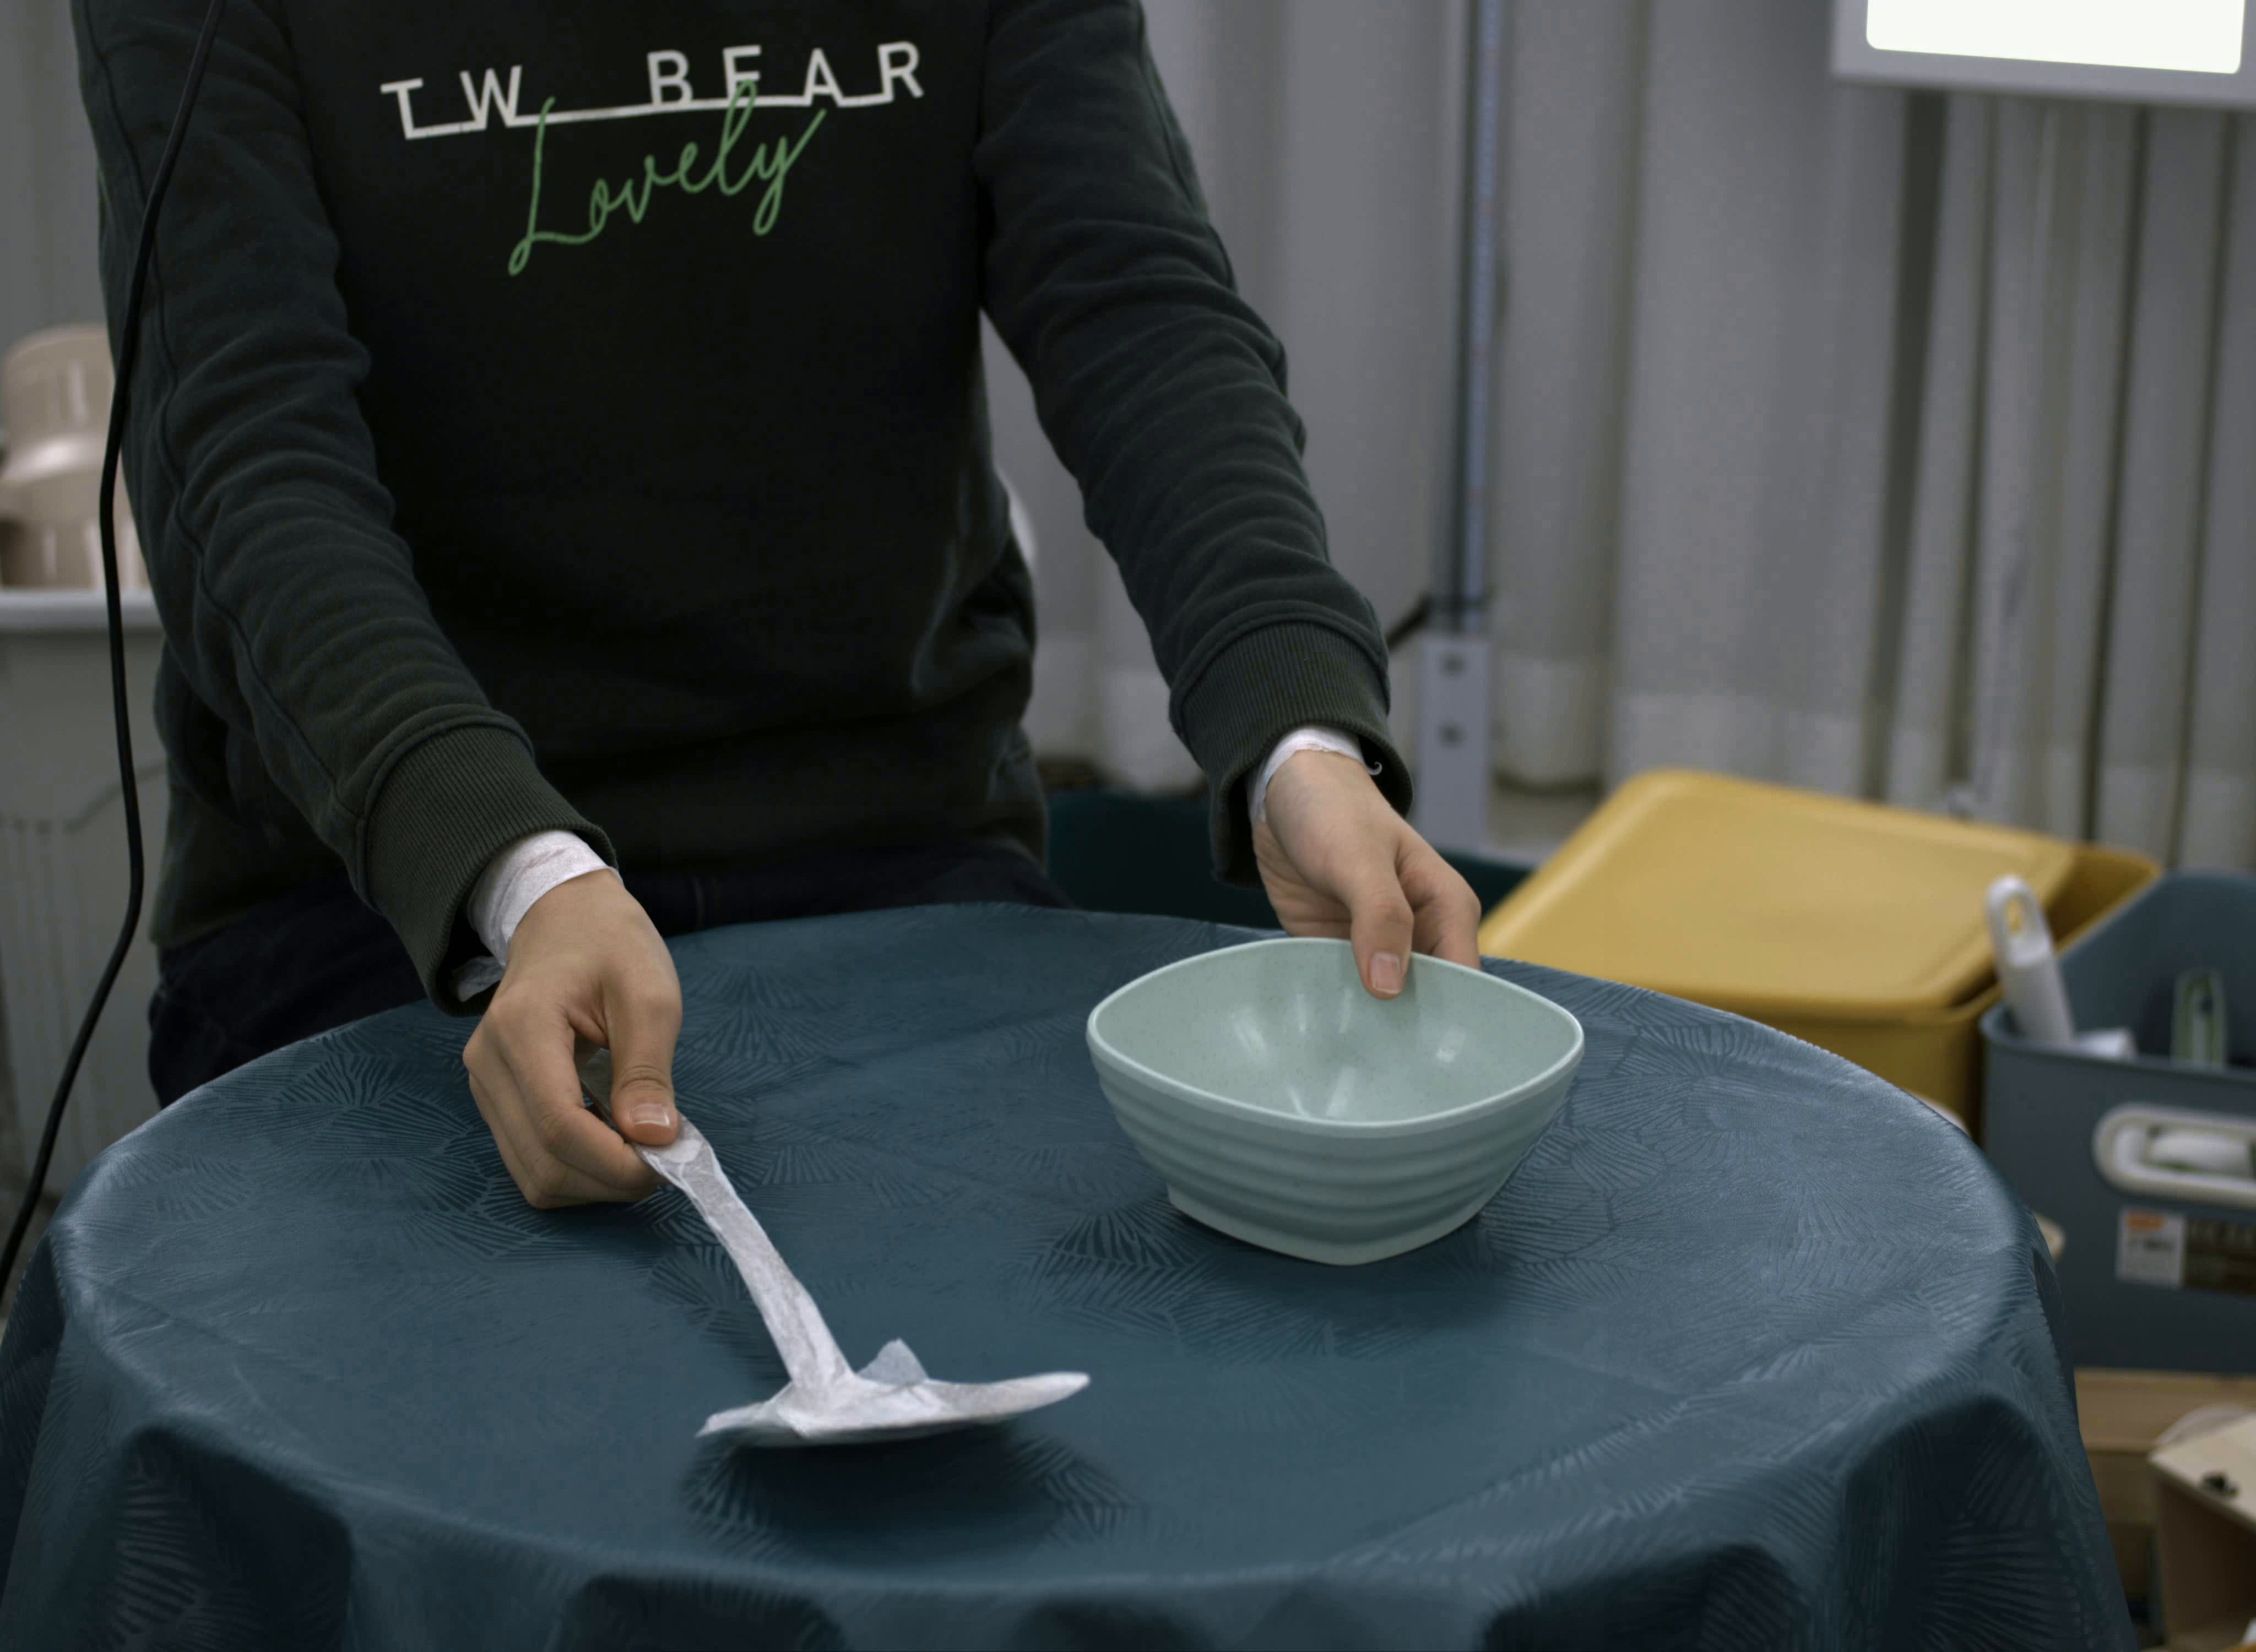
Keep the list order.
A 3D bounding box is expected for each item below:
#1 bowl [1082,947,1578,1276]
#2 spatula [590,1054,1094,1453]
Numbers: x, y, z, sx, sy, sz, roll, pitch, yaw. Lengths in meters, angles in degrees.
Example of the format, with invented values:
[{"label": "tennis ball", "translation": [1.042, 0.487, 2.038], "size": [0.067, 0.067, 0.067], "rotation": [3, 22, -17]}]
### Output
[{"label": "bowl", "translation": [0.060, 0.091, 1.601], "size": [0.151, 0.059, 0.150], "rotation": [4, 19, -1]}, {"label": "spatula", "translation": [-0.108, 0.115, 1.522], "size": [0.099, 0.045, 0.360], "rotation": [-7, 21, -19]}]
